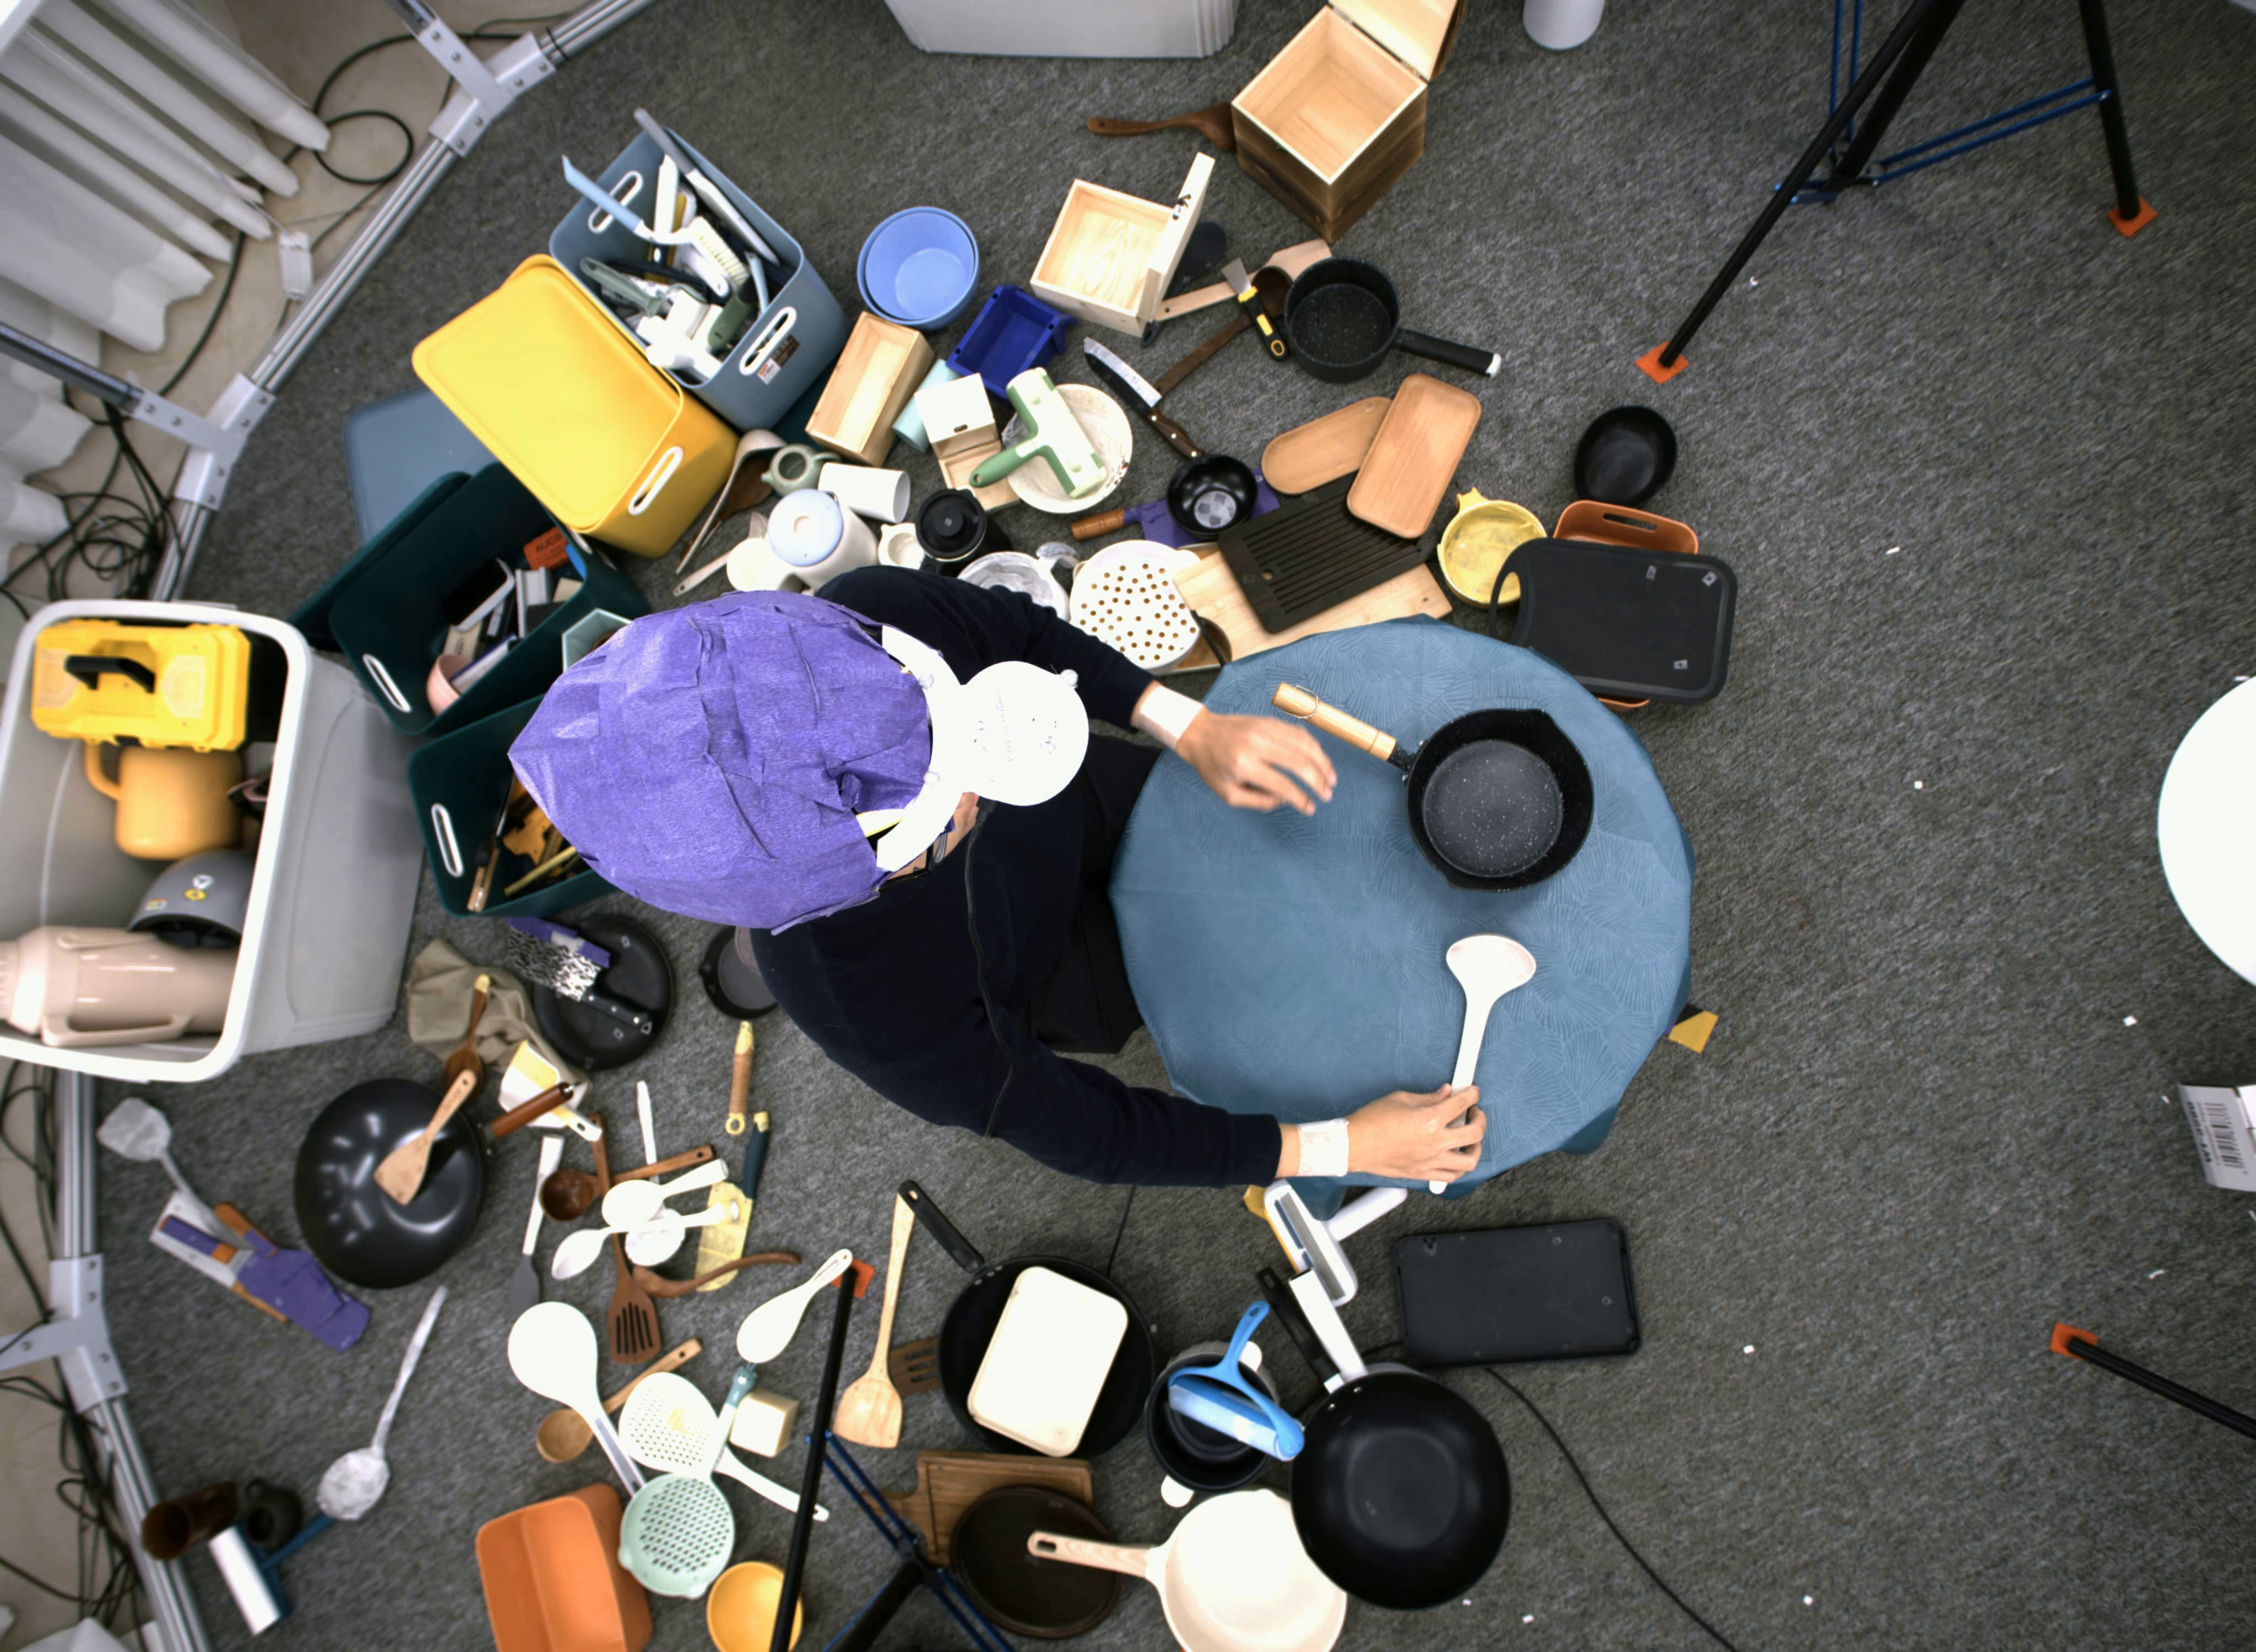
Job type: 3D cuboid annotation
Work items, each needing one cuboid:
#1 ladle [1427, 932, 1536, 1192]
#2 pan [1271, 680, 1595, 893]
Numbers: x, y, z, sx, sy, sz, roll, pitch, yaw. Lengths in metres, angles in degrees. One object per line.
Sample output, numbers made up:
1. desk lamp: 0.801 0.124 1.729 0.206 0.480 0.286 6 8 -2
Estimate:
1. ladle: 0.346 0.241 1.403 0.089 0.069 0.274 13 89 2
2. pan: 0.303 -0.058 1.406 0.342 0.108 0.208 25 92 10
